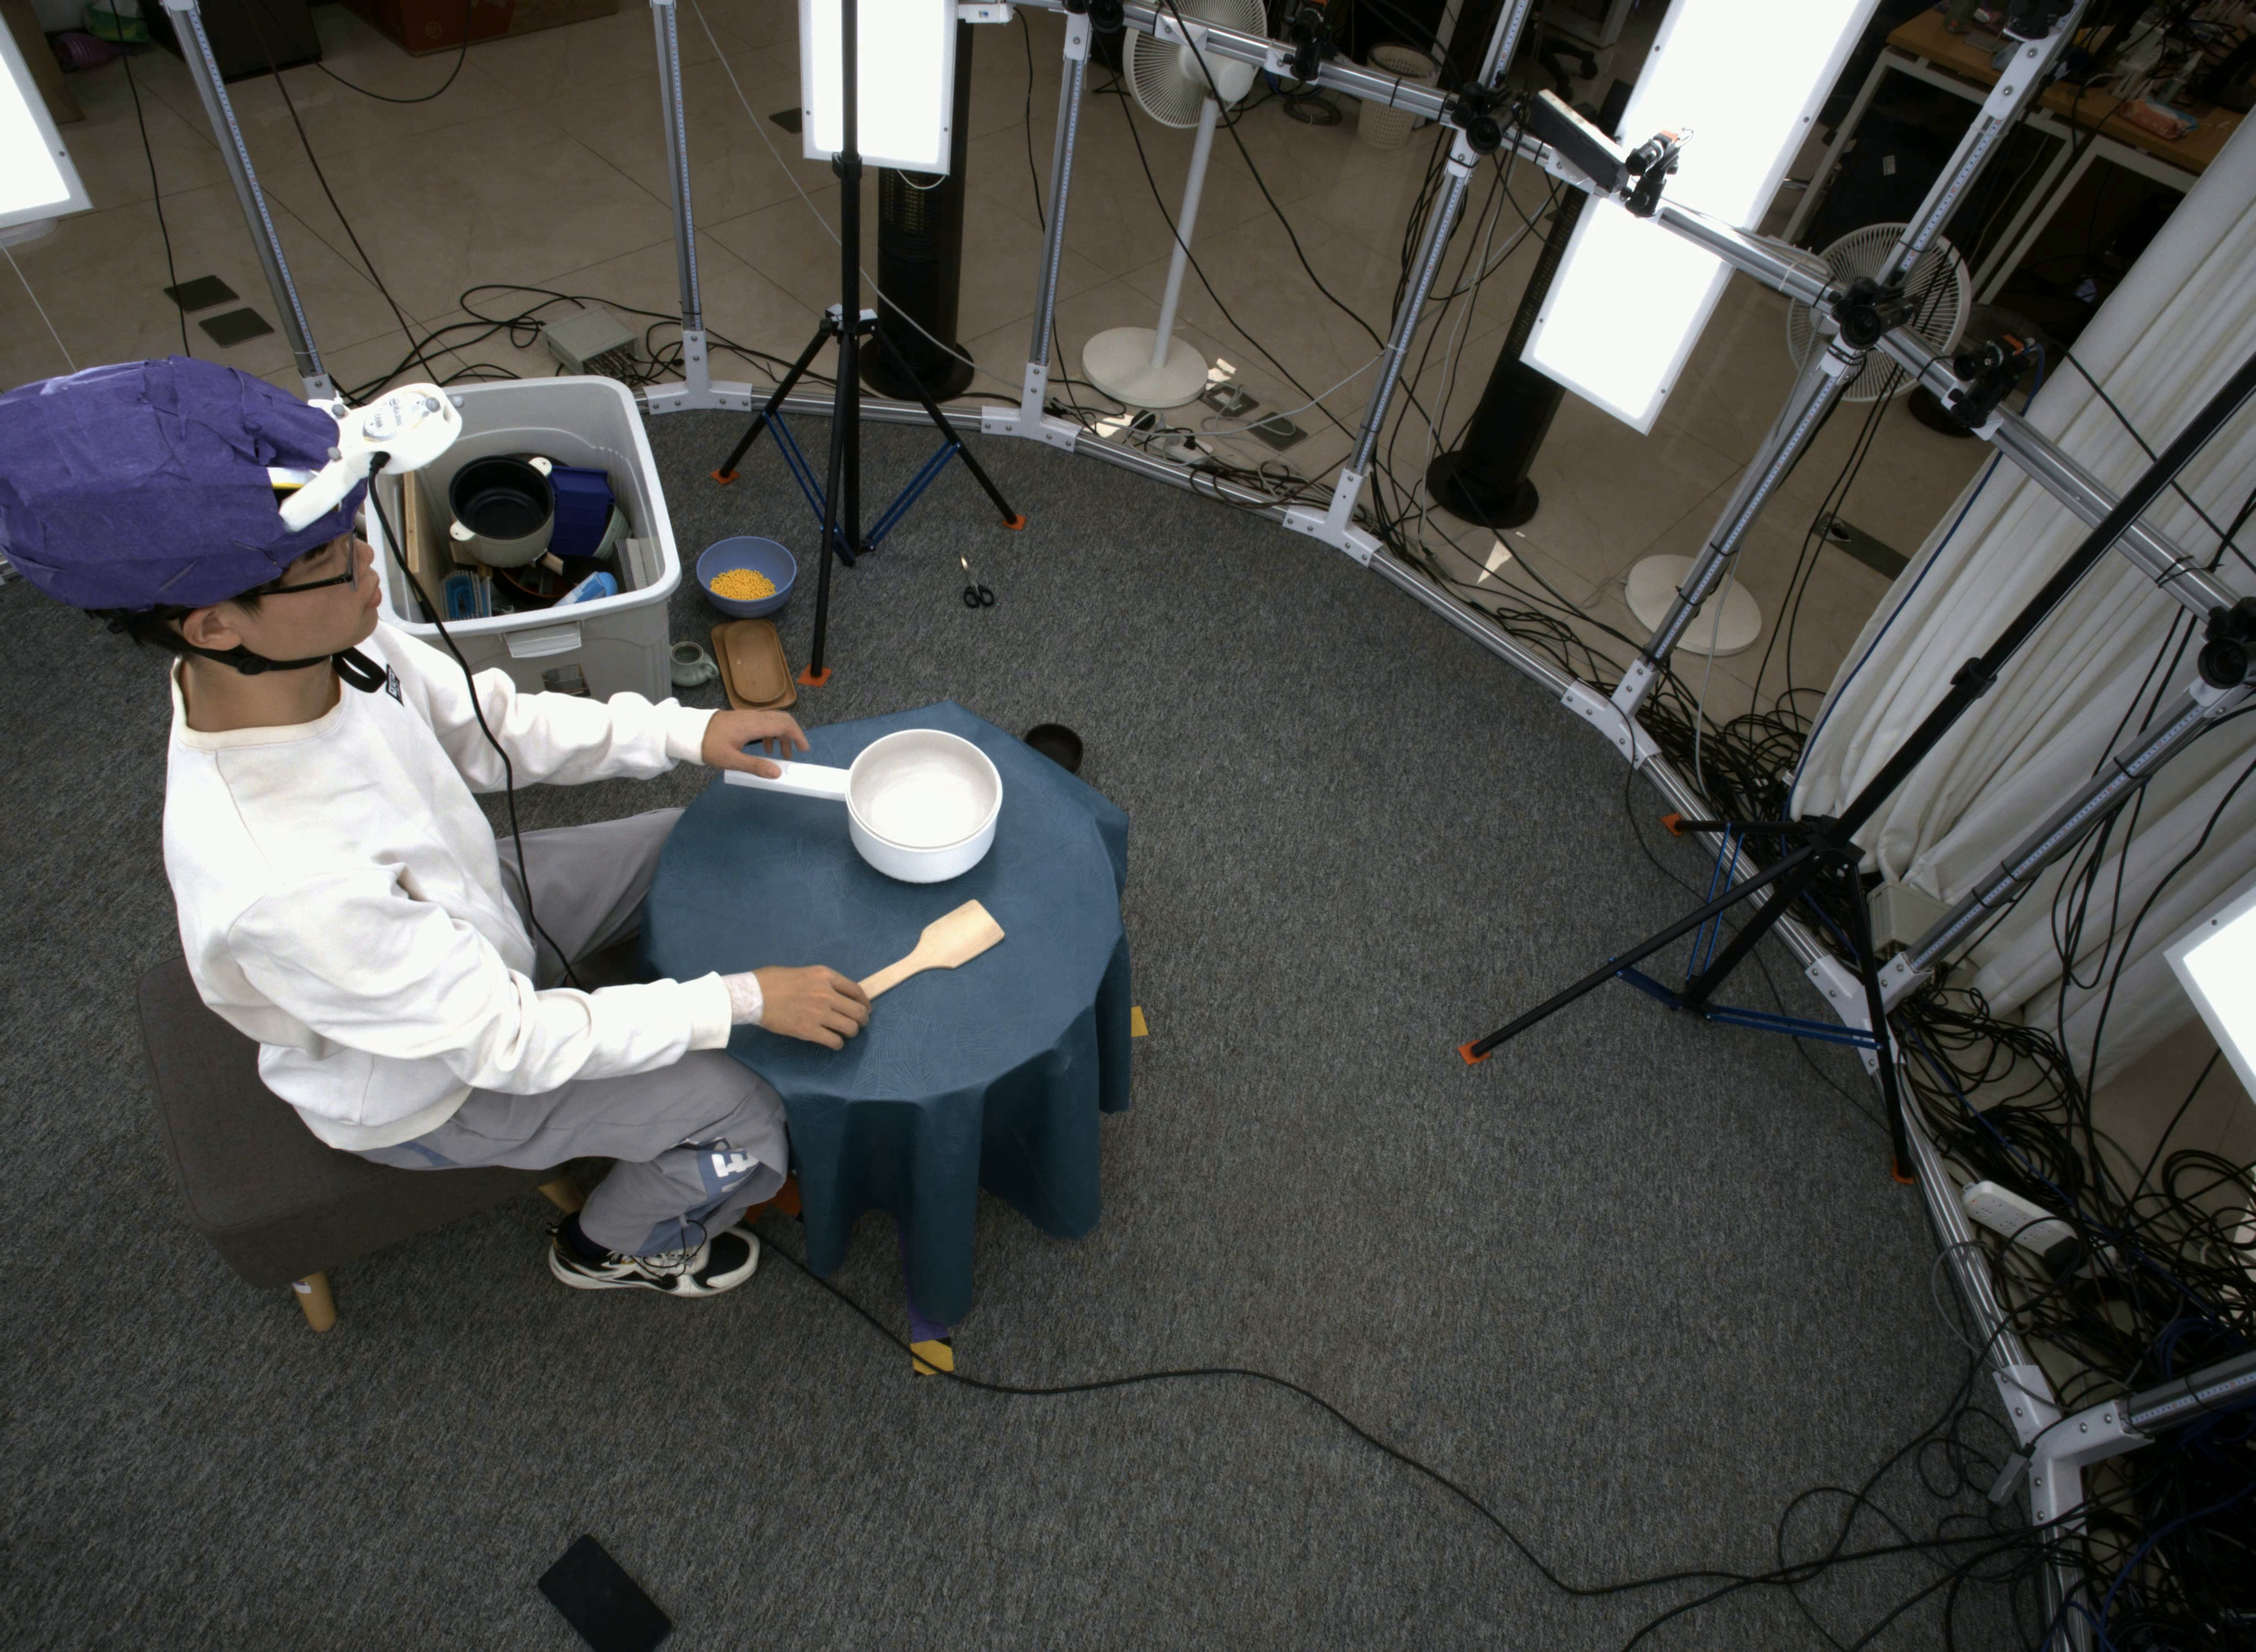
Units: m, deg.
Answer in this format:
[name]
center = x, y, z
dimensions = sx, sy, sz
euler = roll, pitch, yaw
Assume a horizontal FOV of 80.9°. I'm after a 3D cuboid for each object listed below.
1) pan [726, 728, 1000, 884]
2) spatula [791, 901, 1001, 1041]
[pan]
center = -0.347, -0.032, 1.715
dimensions = 0.353, 0.104, 0.198
euler = 8, 53, -6
[spatula]
center = -0.291, 0.184, 1.624
dimensions = 0.294, 0.011, 0.070
euler = -31, 67, -30
